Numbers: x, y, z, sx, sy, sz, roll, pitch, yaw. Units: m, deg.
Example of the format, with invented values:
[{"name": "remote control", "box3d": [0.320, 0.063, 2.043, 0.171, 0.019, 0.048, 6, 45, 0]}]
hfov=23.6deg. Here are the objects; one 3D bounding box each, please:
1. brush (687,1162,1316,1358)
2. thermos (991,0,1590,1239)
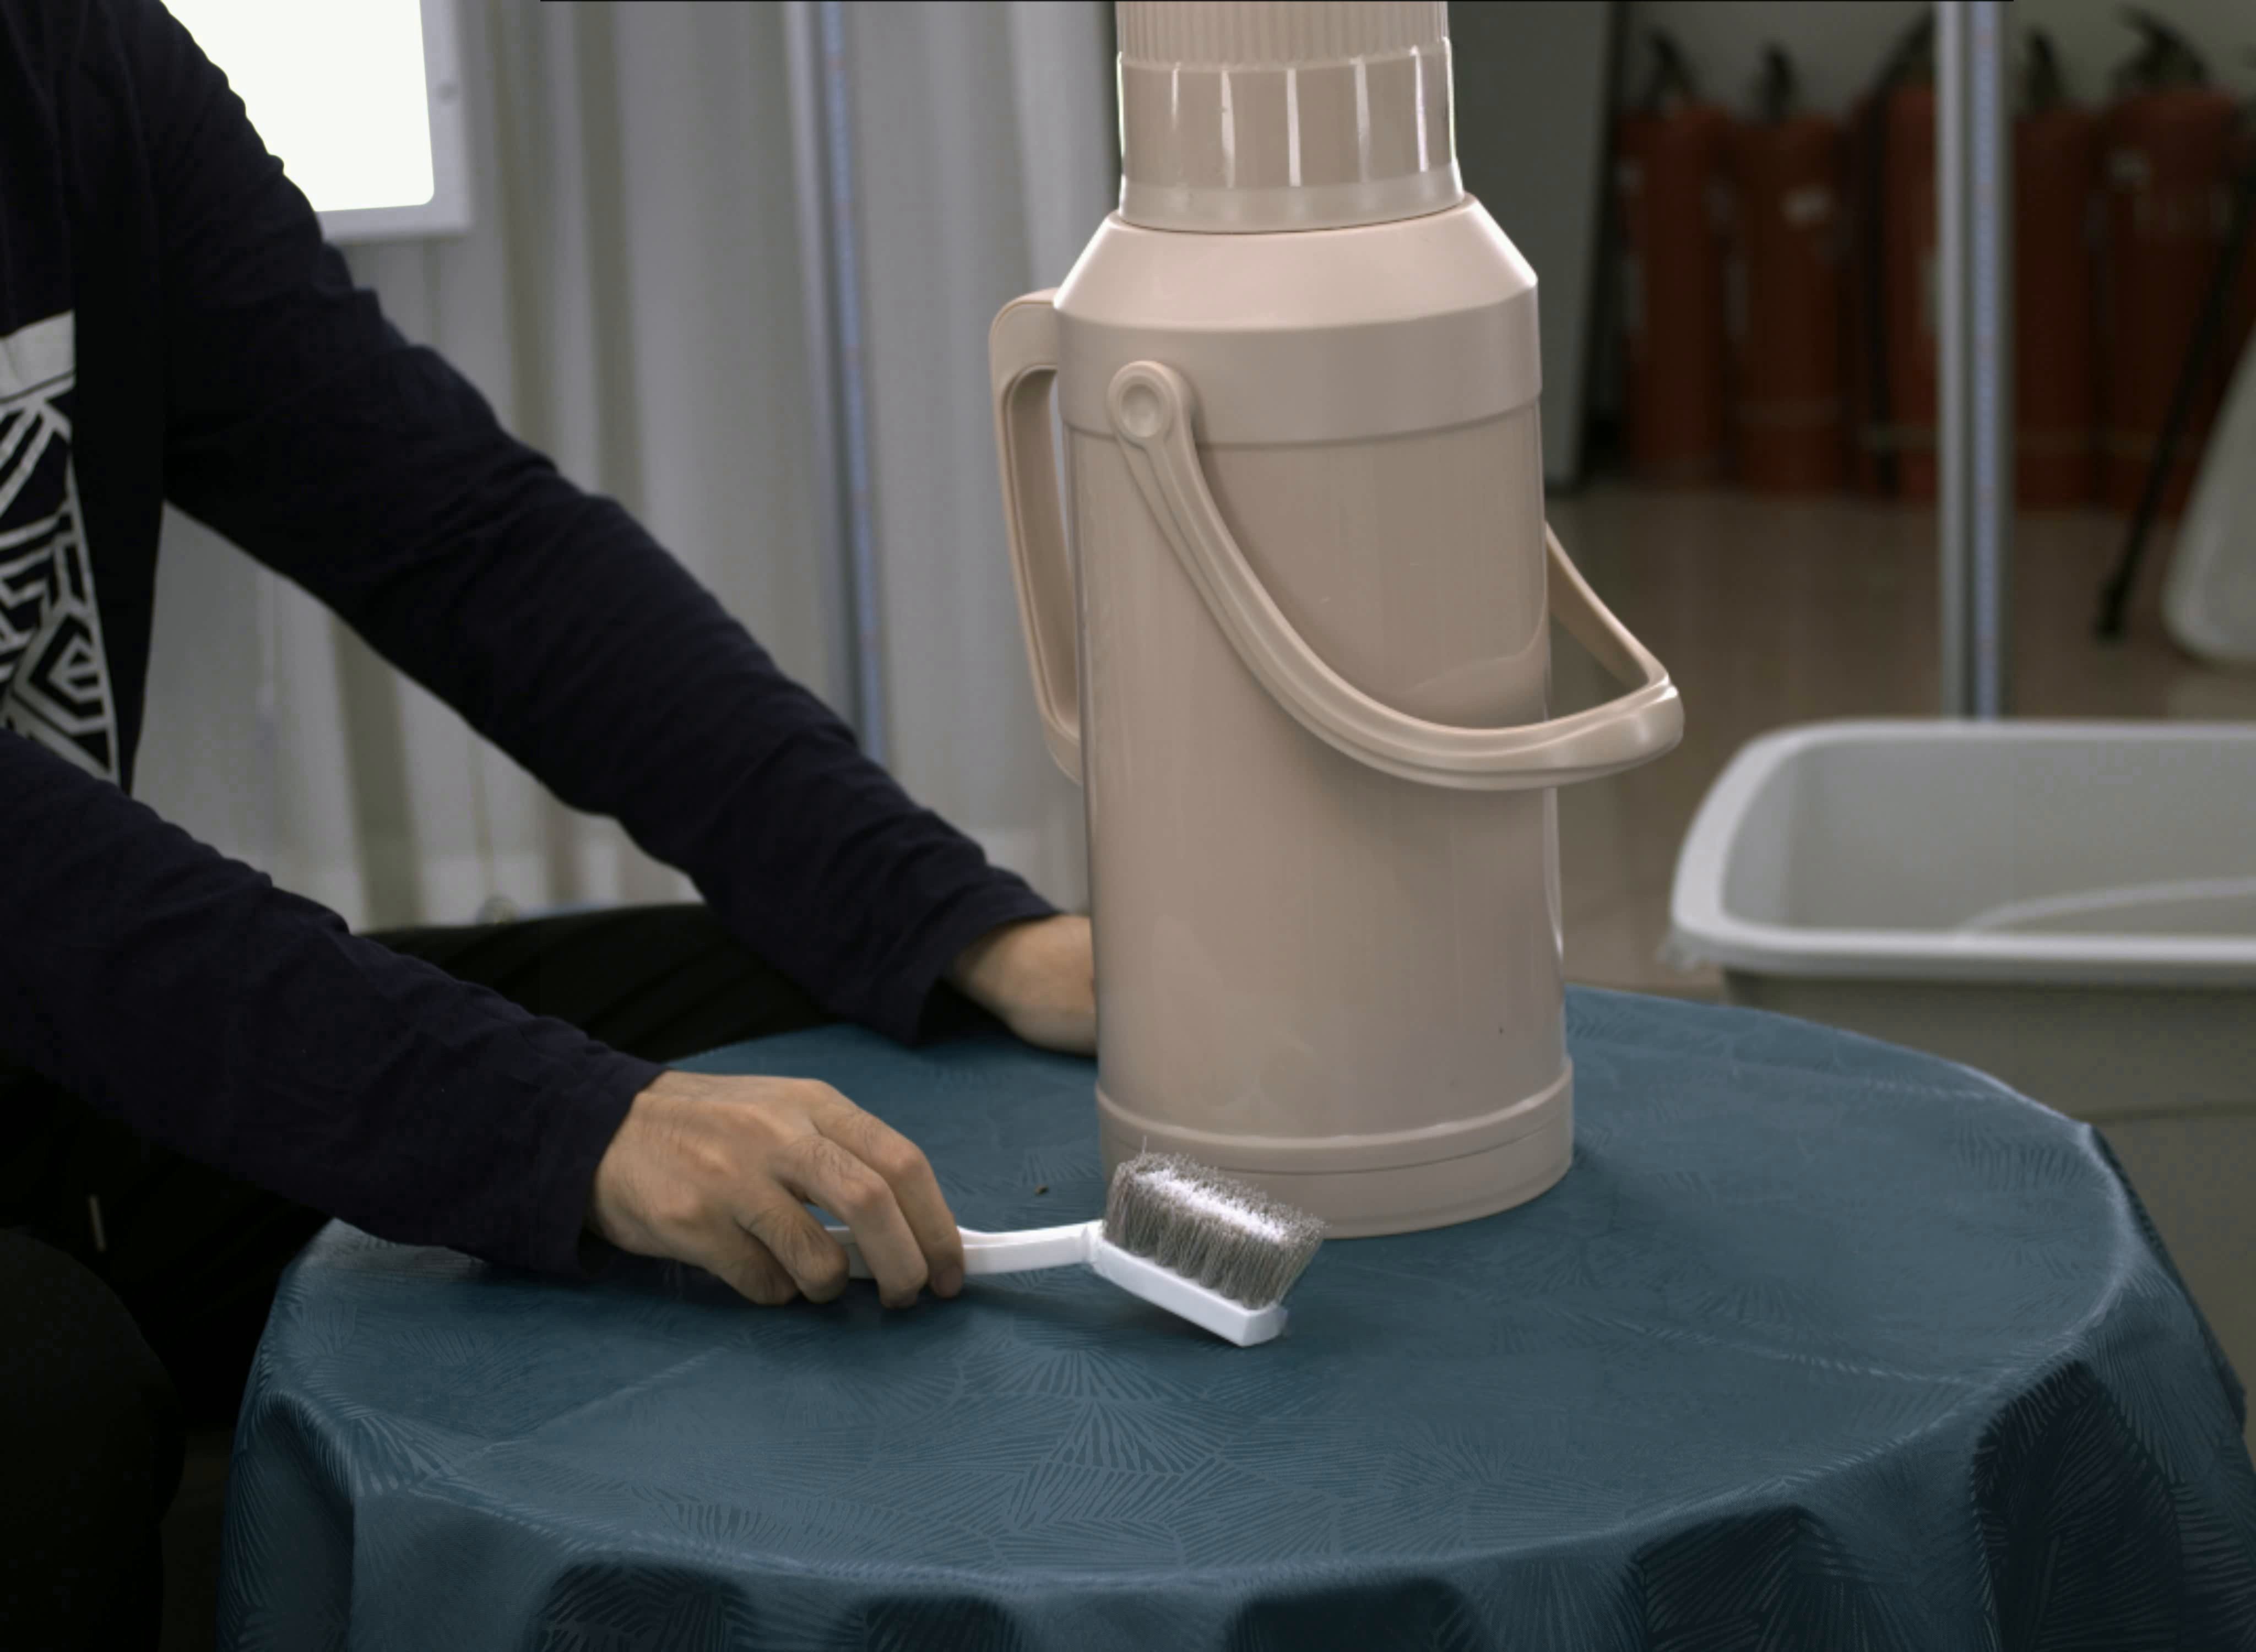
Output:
[{"name": "brush", "box3d": [-0.046, 0.122, 1.683, 0.245, 0.050, 0.034, 7, 24, 37]}, {"name": "thermos", "box3d": [0.049, -0.082, 1.751, 0.208, 0.410, 0.172, 6, 18, 36]}]
